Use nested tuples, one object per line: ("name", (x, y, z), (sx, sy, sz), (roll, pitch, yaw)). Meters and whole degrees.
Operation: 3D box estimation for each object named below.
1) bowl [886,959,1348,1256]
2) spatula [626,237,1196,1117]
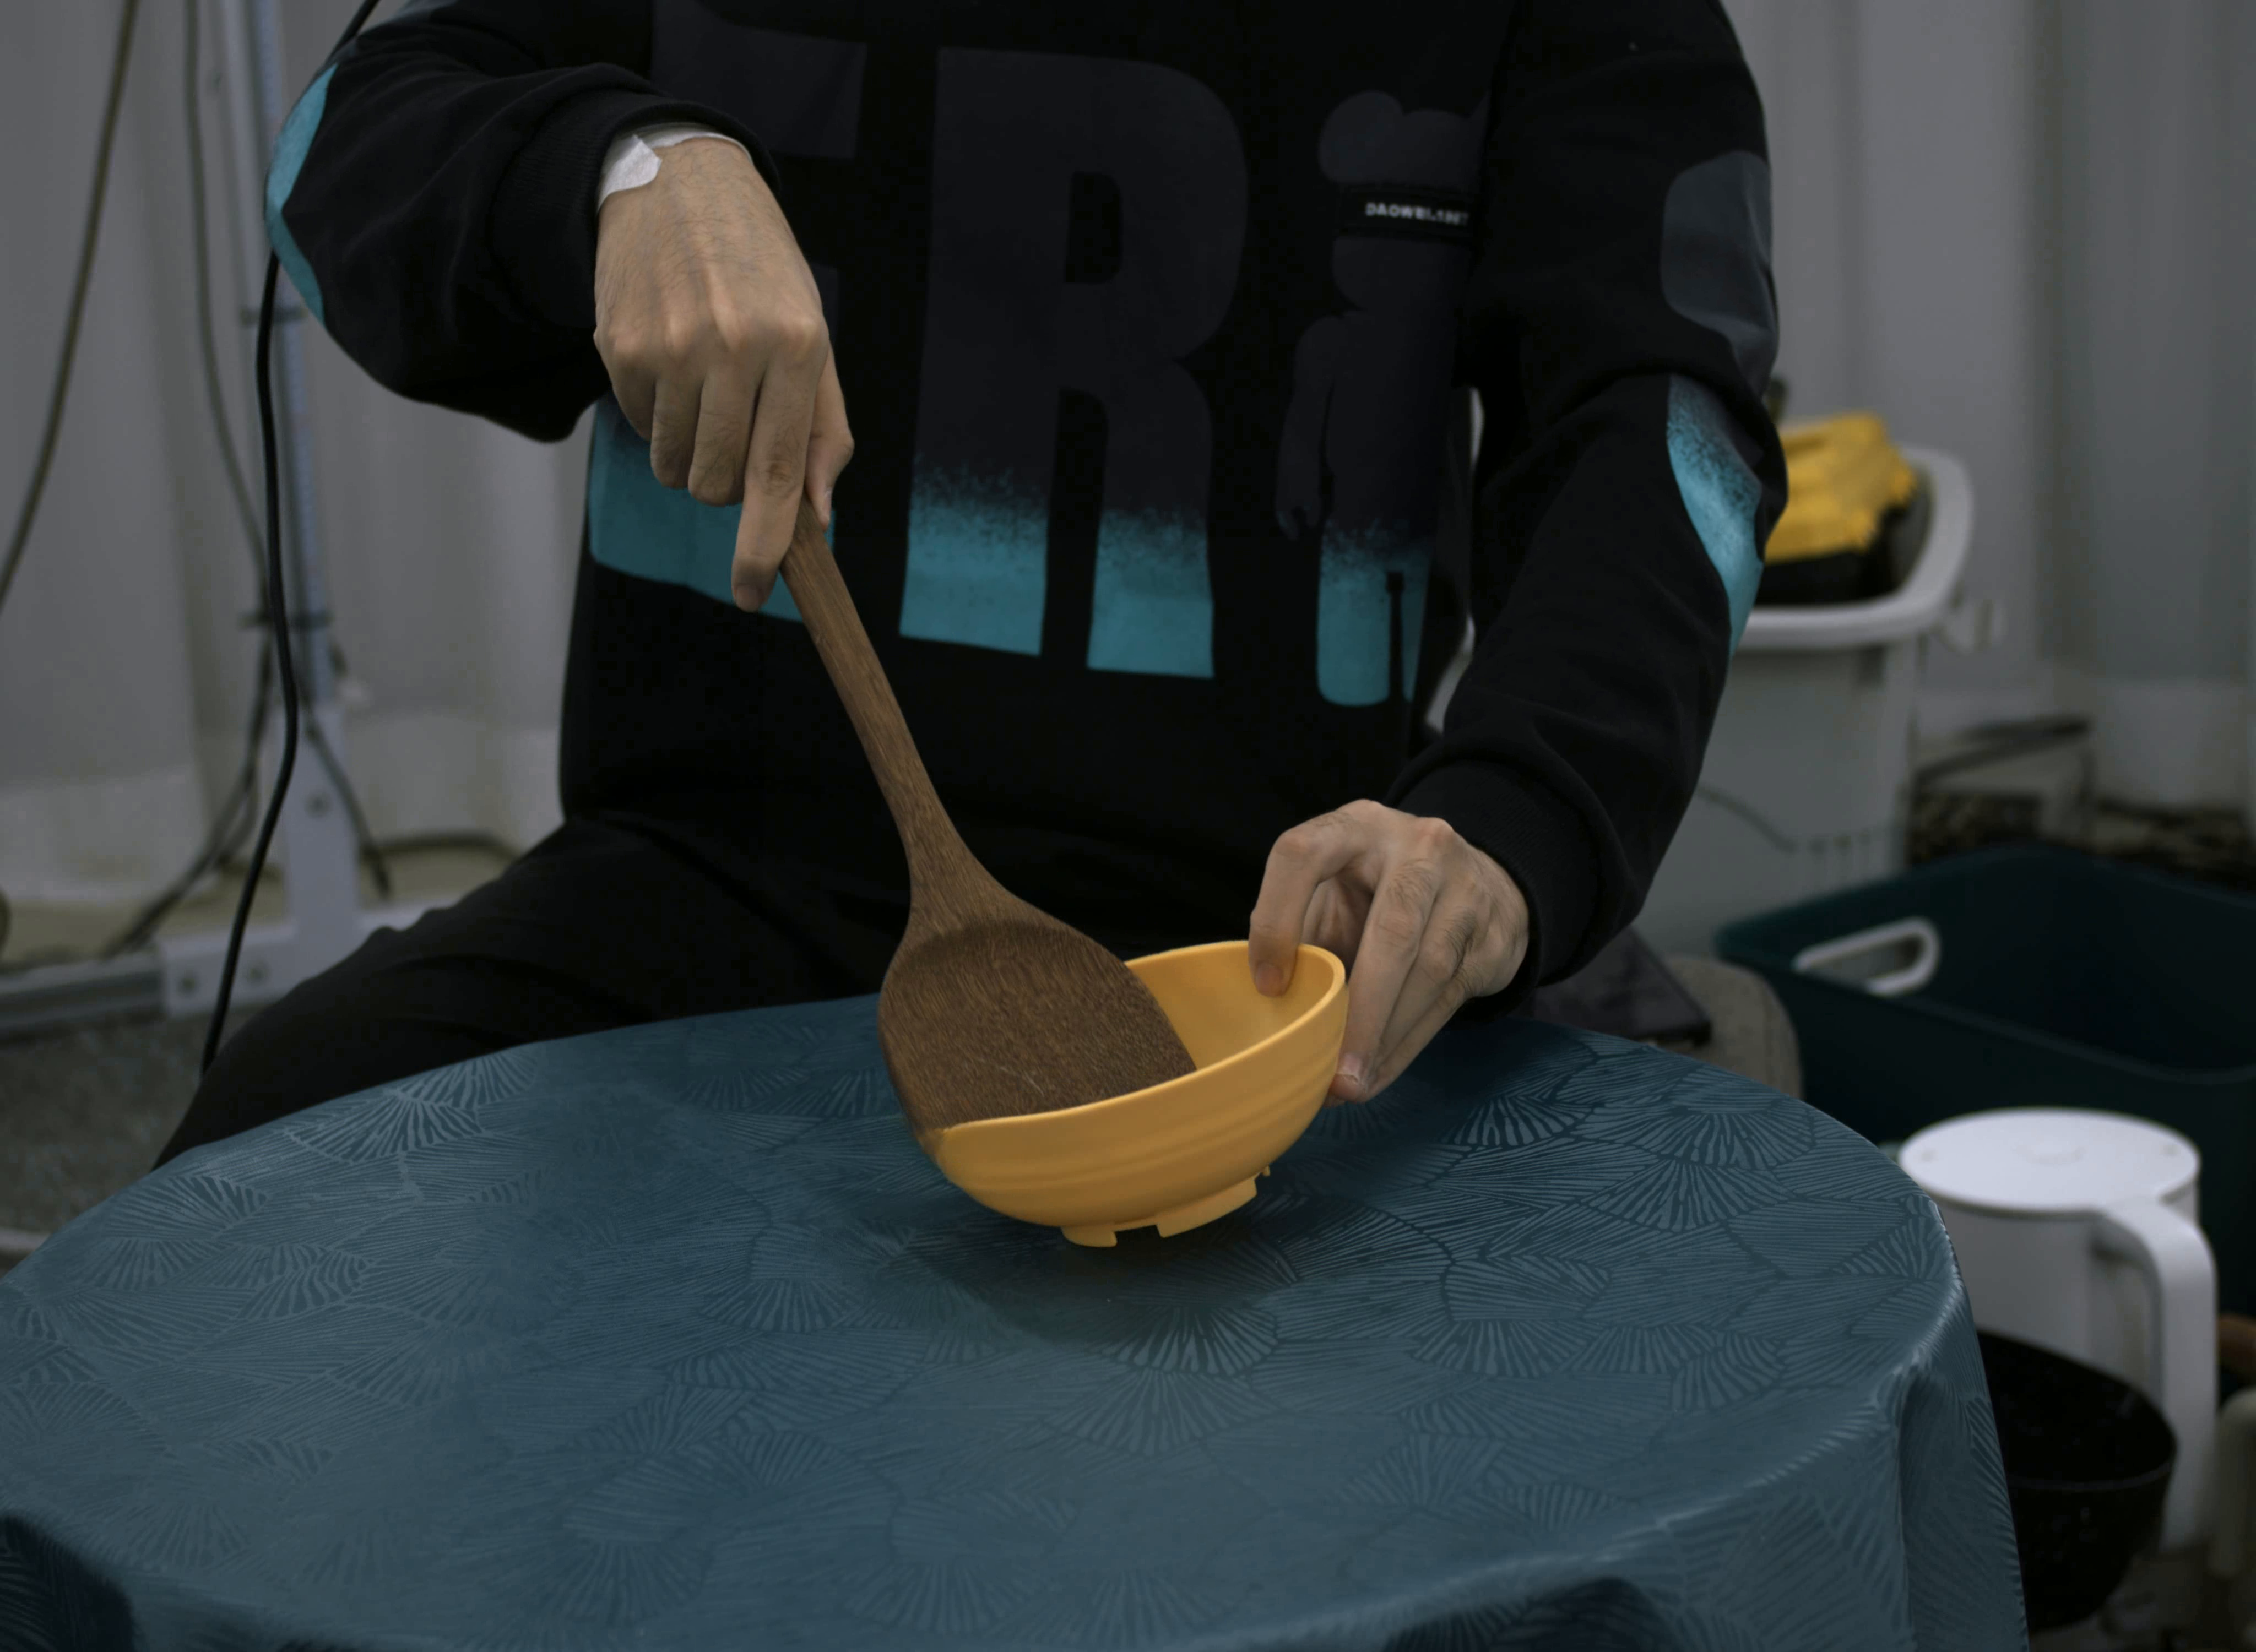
("bowl", (0.003, 0.092, 1.670), (0.145, 0.060, 0.146), (-14, 12, 3))
("spatula", (-0.087, -0.049, 1.756), (0.096, 0.015, 0.391), (-11, 57, -24))
